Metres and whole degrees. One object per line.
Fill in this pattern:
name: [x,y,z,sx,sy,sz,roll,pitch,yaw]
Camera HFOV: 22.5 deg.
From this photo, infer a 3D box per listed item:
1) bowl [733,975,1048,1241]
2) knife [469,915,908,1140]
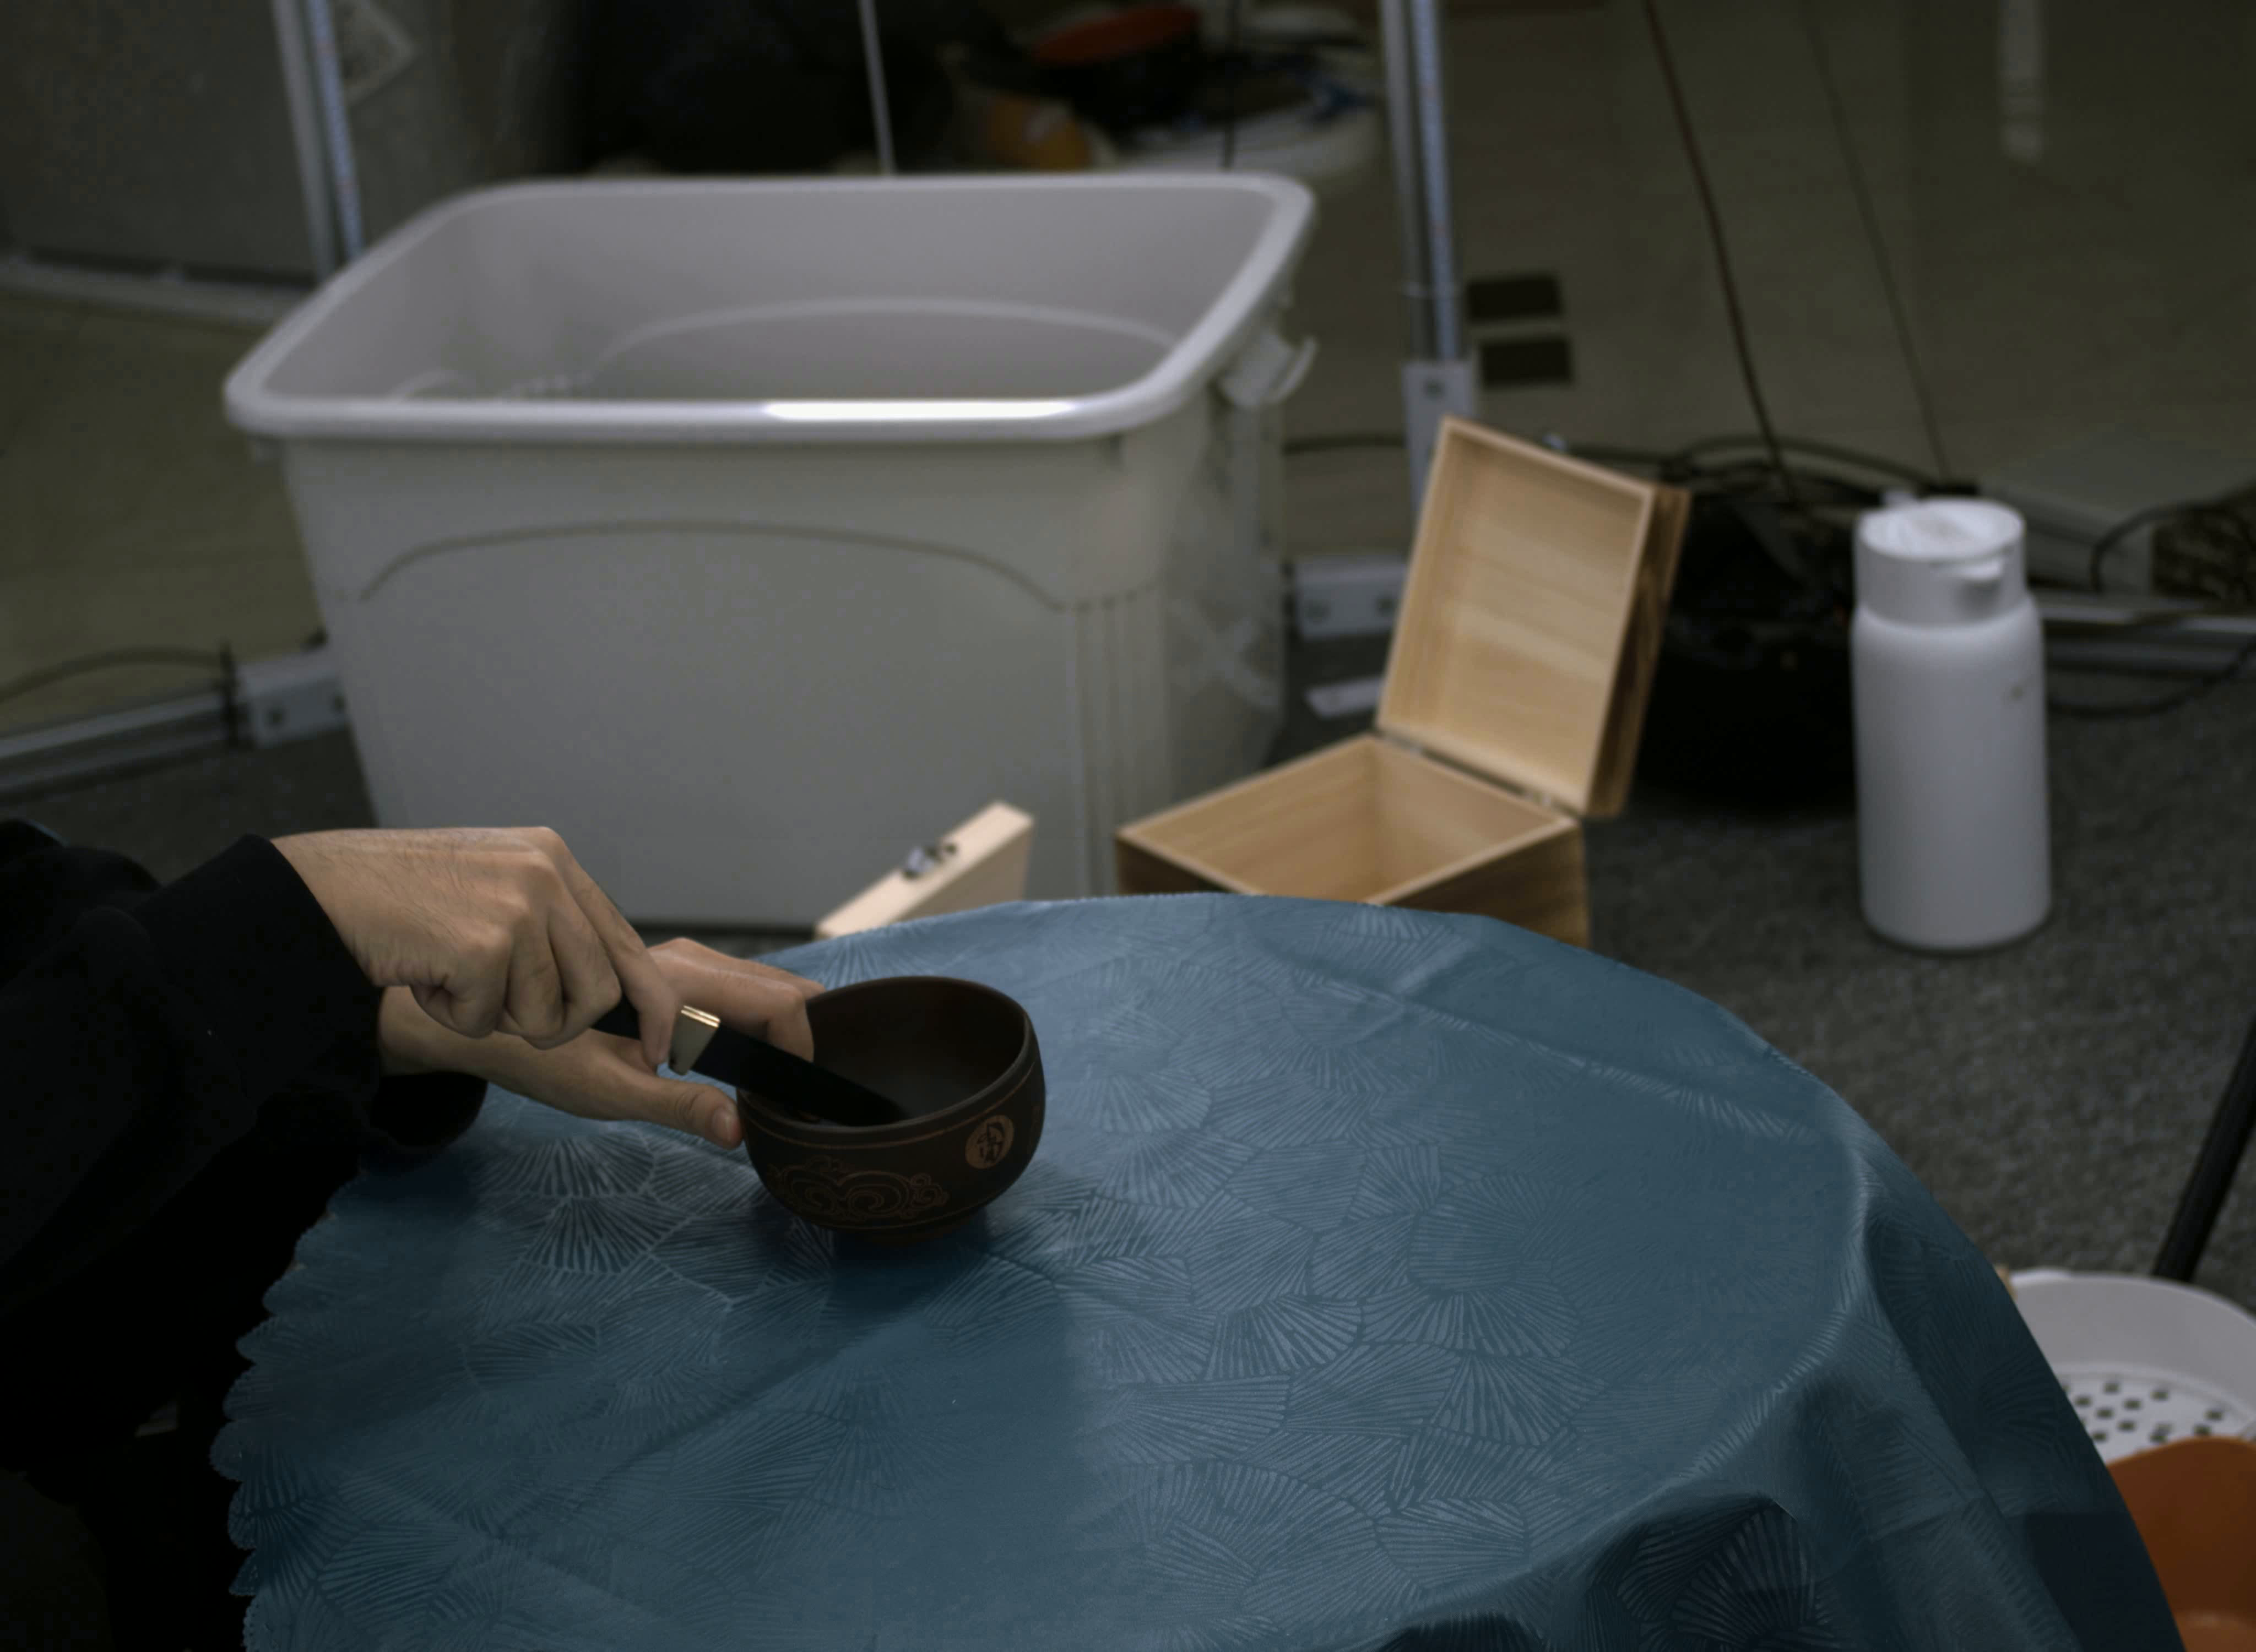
bowl: [-0.087,0.112,2.132,0.118,0.071,0.116,-7,25,3]
knife: [-0.153,0.082,2.085,0.227,0.026,0.017,28,6,-36]
